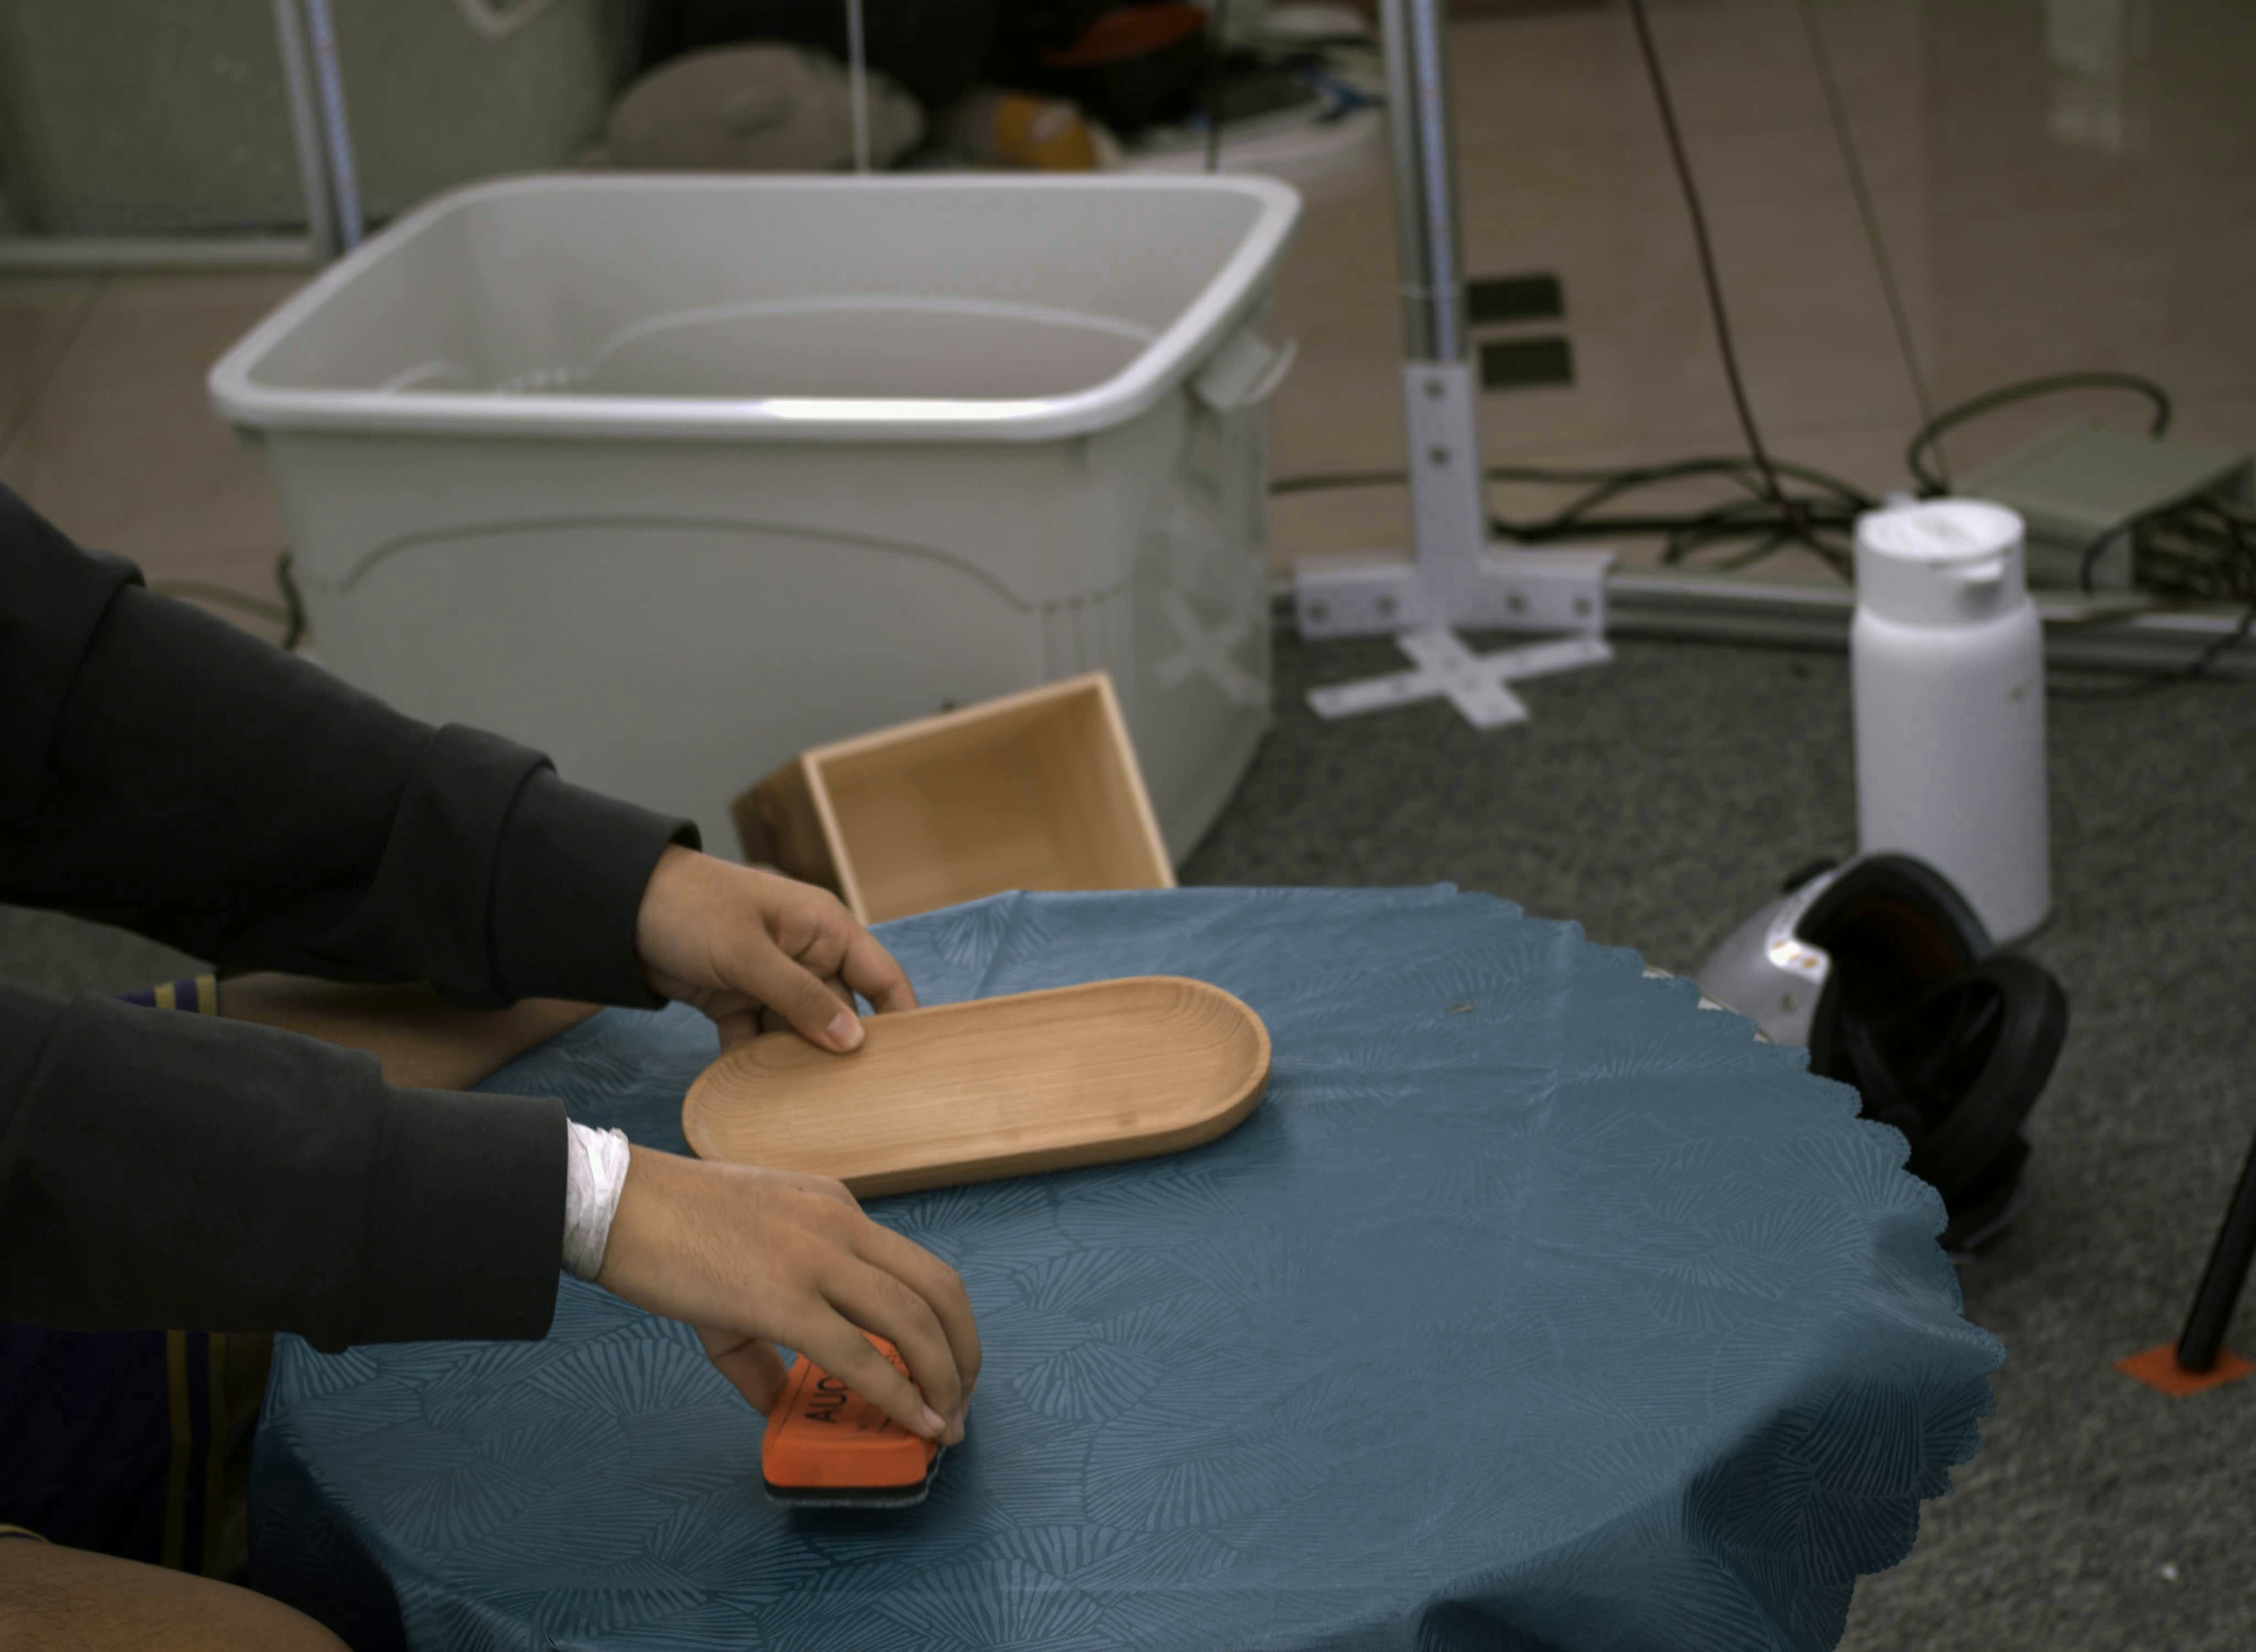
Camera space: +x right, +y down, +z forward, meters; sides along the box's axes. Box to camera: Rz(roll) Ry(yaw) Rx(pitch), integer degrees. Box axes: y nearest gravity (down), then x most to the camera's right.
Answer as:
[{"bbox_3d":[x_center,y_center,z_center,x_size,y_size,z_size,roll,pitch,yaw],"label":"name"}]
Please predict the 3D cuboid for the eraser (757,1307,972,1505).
[{"bbox_3d":[-0.091,0.201,1.981,0.059,0.023,0.107,9,21,6],"label":"eraser"}]

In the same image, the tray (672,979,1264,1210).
[{"bbox_3d":[-0.062,0.104,2.198,0.231,0.021,0.100,-9,35,-4],"label":"tray"}]
